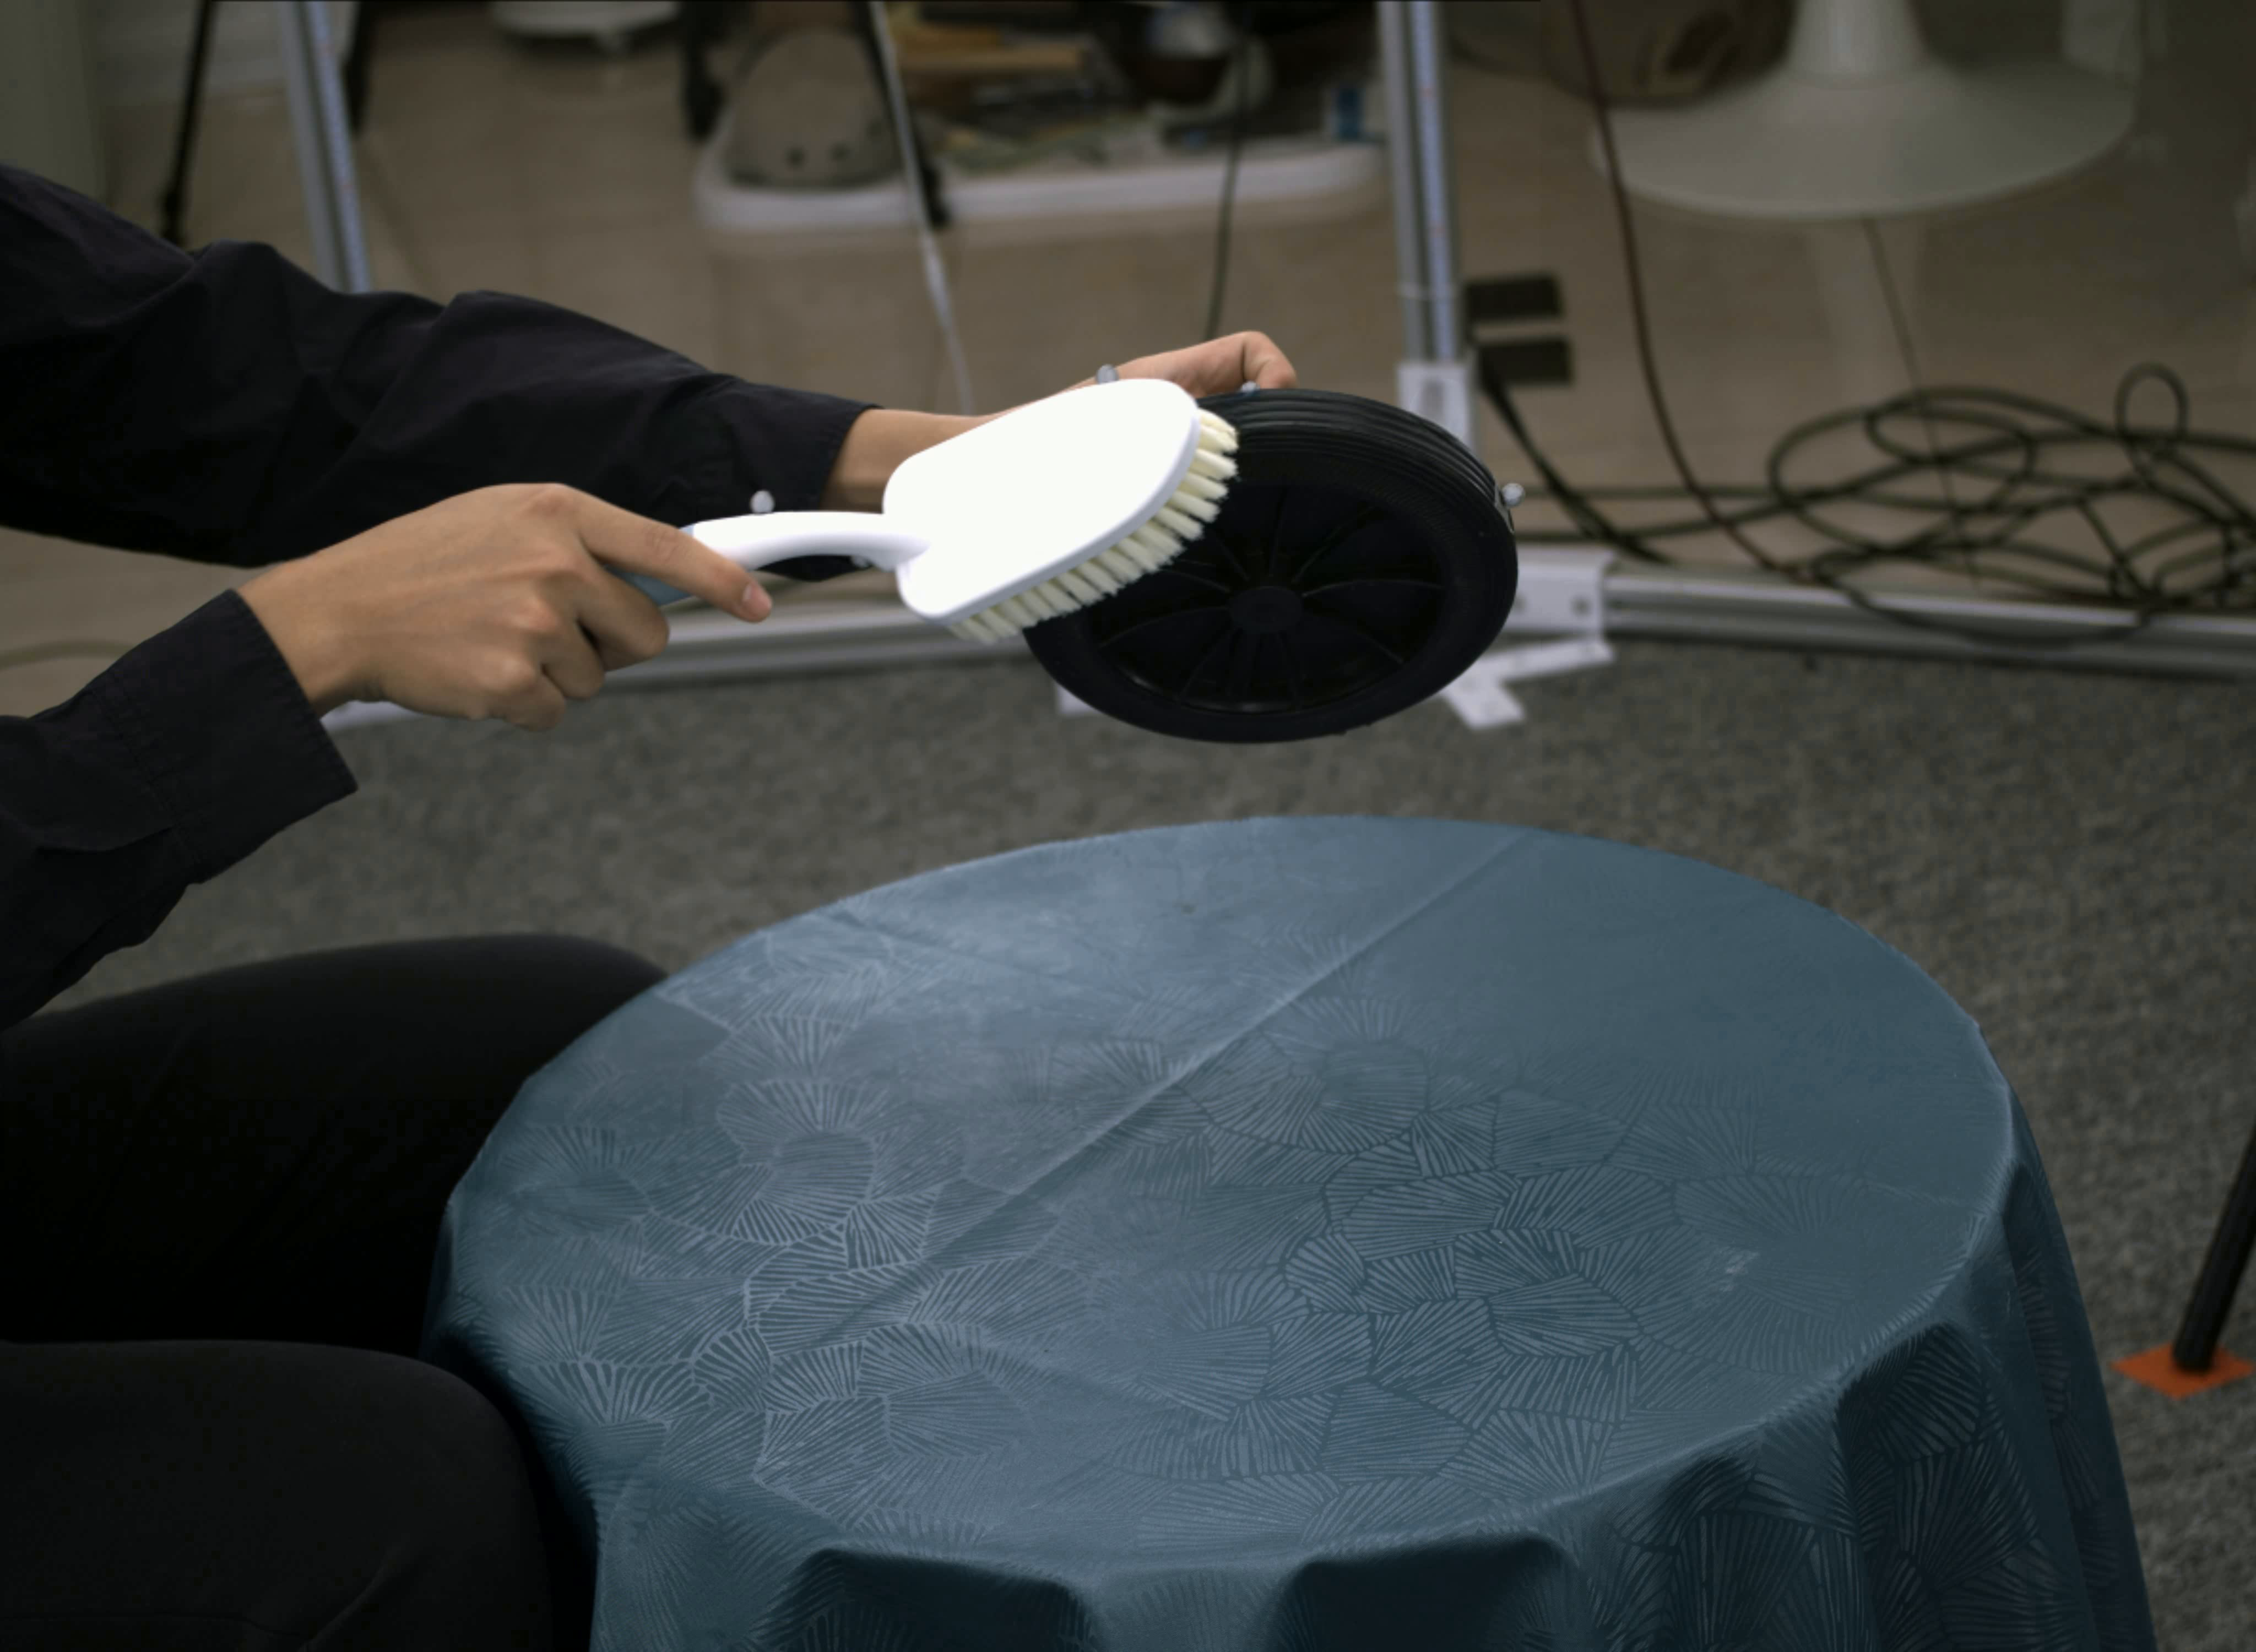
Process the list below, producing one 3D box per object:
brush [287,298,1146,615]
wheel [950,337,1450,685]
[{"bbox_3d":[-0.147,-0.125,2.062,0.325,0.086,0.081,-17,31,10],"label":"brush"},{"bbox_3d":[0.026,-0.134,2.151,0.189,0.191,0.078,2,54,-10],"label":"wheel"}]
